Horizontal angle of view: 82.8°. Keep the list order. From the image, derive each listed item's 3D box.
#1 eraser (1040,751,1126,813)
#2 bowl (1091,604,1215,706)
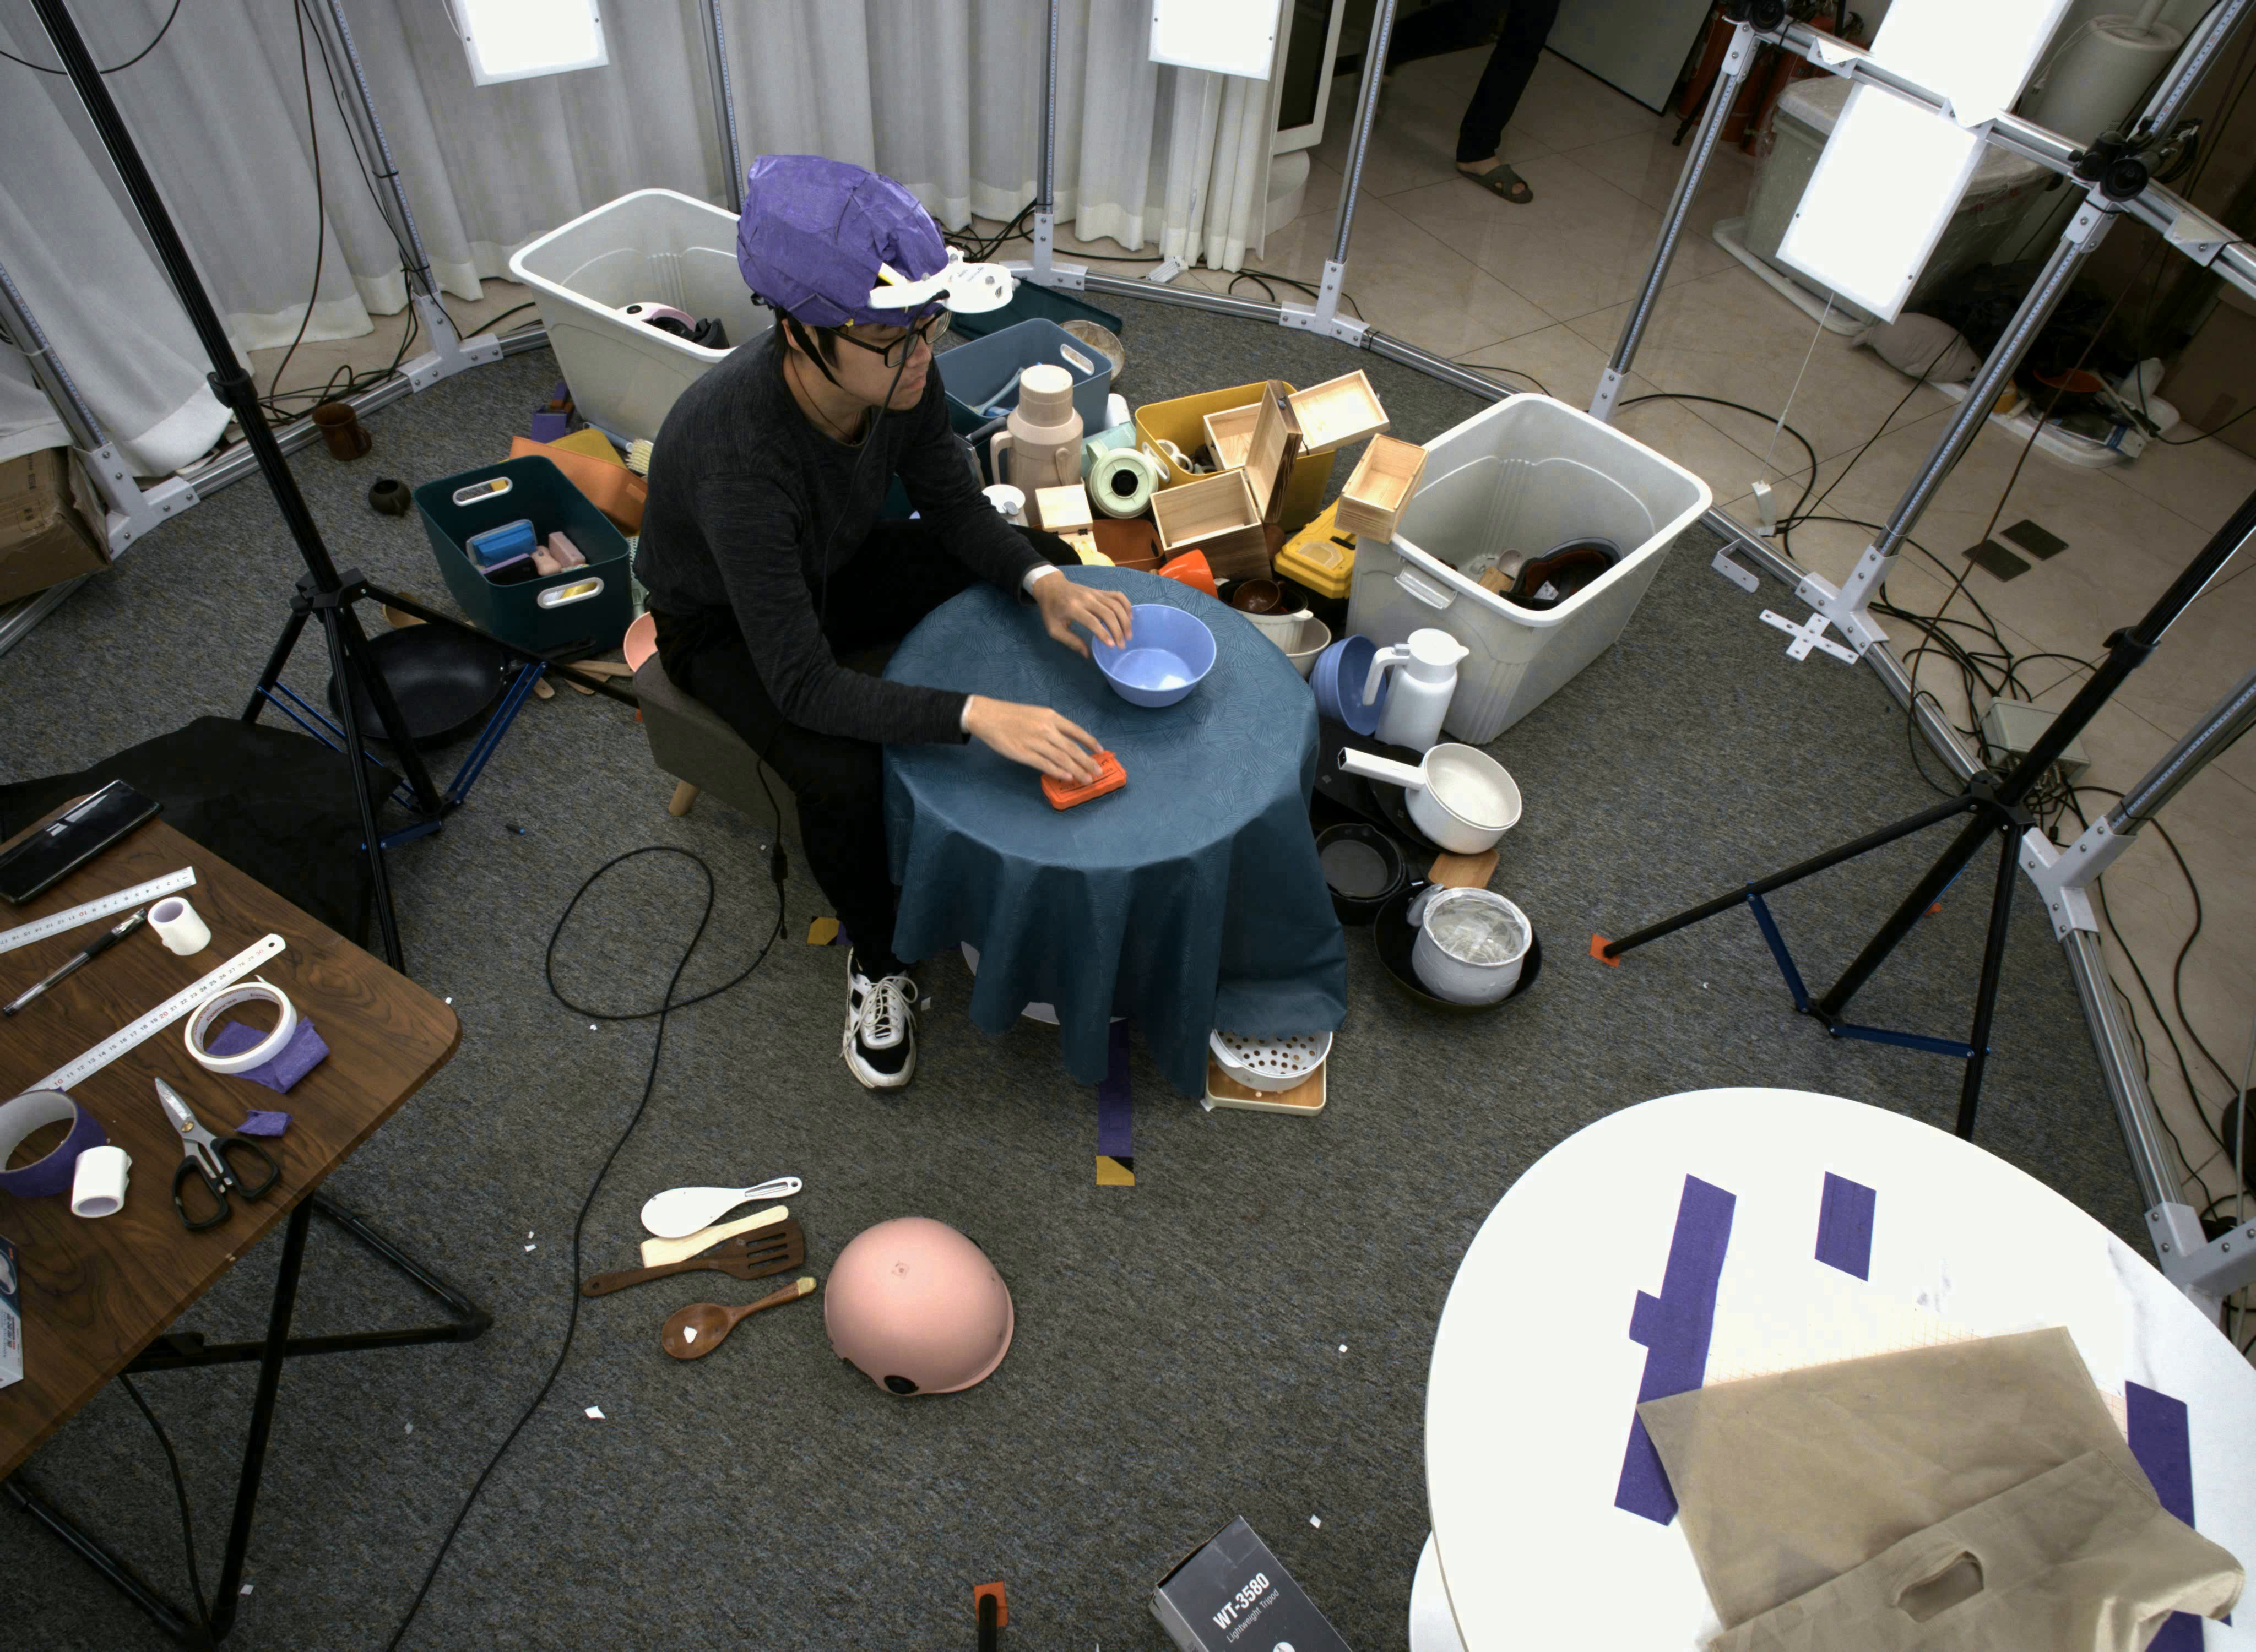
[{"bbox_3d":[-0.060,-0.059,1.702,0.108,0.022,0.060,-22,56,-20],"label":"eraser"},{"bbox_3d":[0.034,-0.234,1.830,0.176,0.068,0.180,2,50,-2],"label":"bowl"}]
